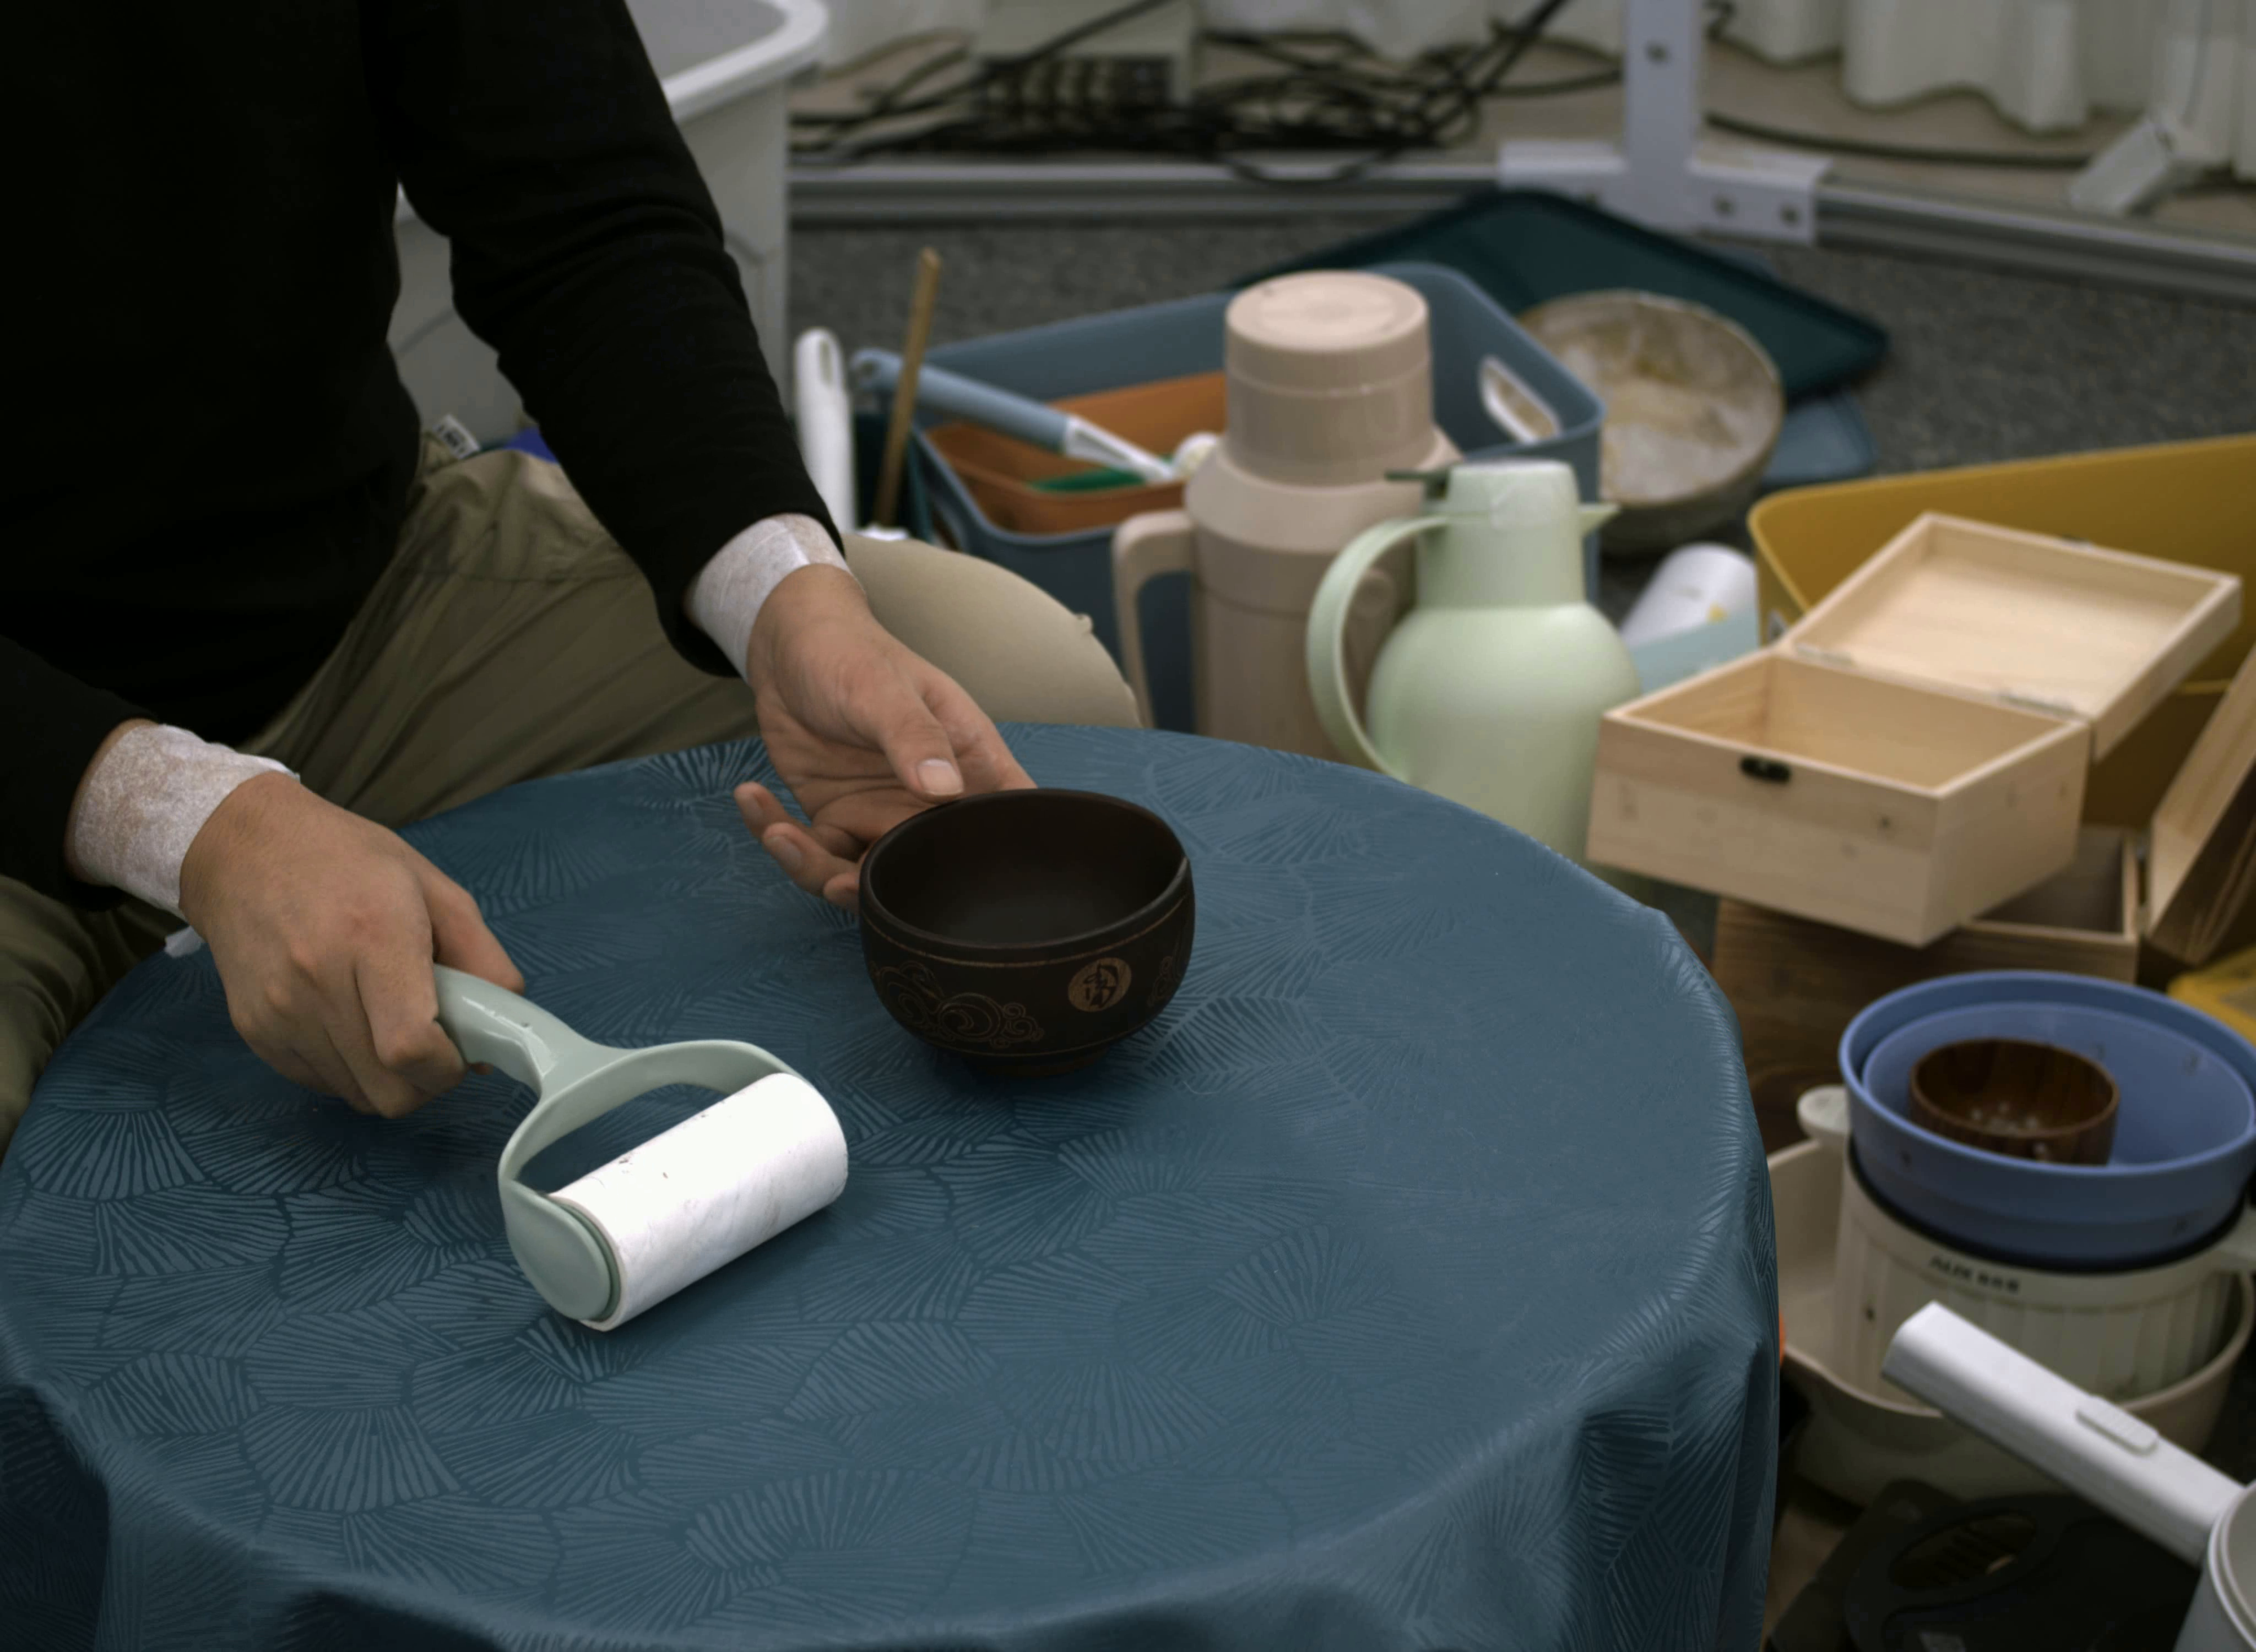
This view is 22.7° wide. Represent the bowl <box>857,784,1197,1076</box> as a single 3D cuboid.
[{"bbox_3d":[-0.034,0.042,1.940,0.117,0.069,0.120,-3,27,2],"label":"bowl"}]

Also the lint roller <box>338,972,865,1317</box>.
[{"bbox_3d":[-0.190,0.086,1.865,0.198,0.048,0.118,31,42,31],"label":"lint roller"}]
